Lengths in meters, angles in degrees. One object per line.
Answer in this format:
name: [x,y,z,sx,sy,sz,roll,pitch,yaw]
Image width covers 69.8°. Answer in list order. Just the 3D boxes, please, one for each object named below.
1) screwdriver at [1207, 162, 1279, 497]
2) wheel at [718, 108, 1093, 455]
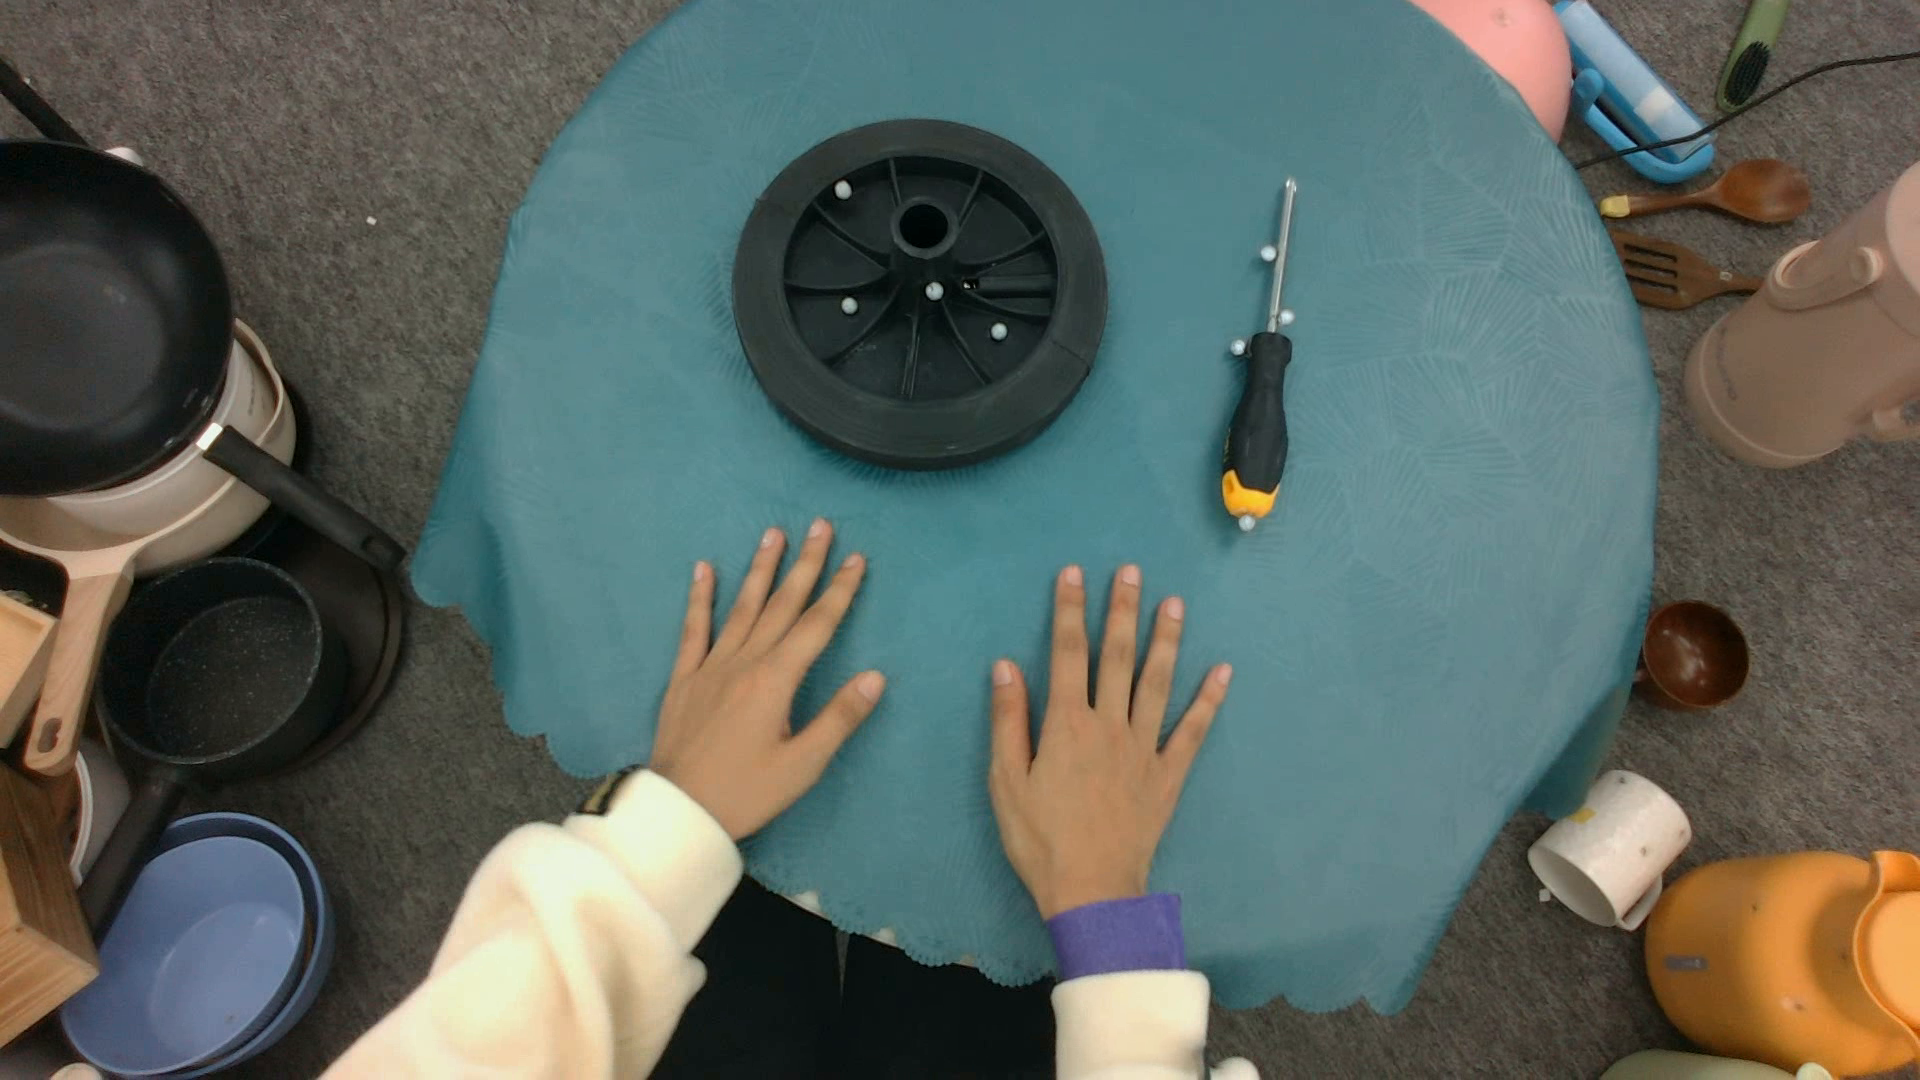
screwdriver: [0.147,-0.114,0.702,0.031,0.031,0.197,9,70,0]
wheel: [-0.024,-0.140,0.673,0.190,0.079,0.187,-25,76,-14]
